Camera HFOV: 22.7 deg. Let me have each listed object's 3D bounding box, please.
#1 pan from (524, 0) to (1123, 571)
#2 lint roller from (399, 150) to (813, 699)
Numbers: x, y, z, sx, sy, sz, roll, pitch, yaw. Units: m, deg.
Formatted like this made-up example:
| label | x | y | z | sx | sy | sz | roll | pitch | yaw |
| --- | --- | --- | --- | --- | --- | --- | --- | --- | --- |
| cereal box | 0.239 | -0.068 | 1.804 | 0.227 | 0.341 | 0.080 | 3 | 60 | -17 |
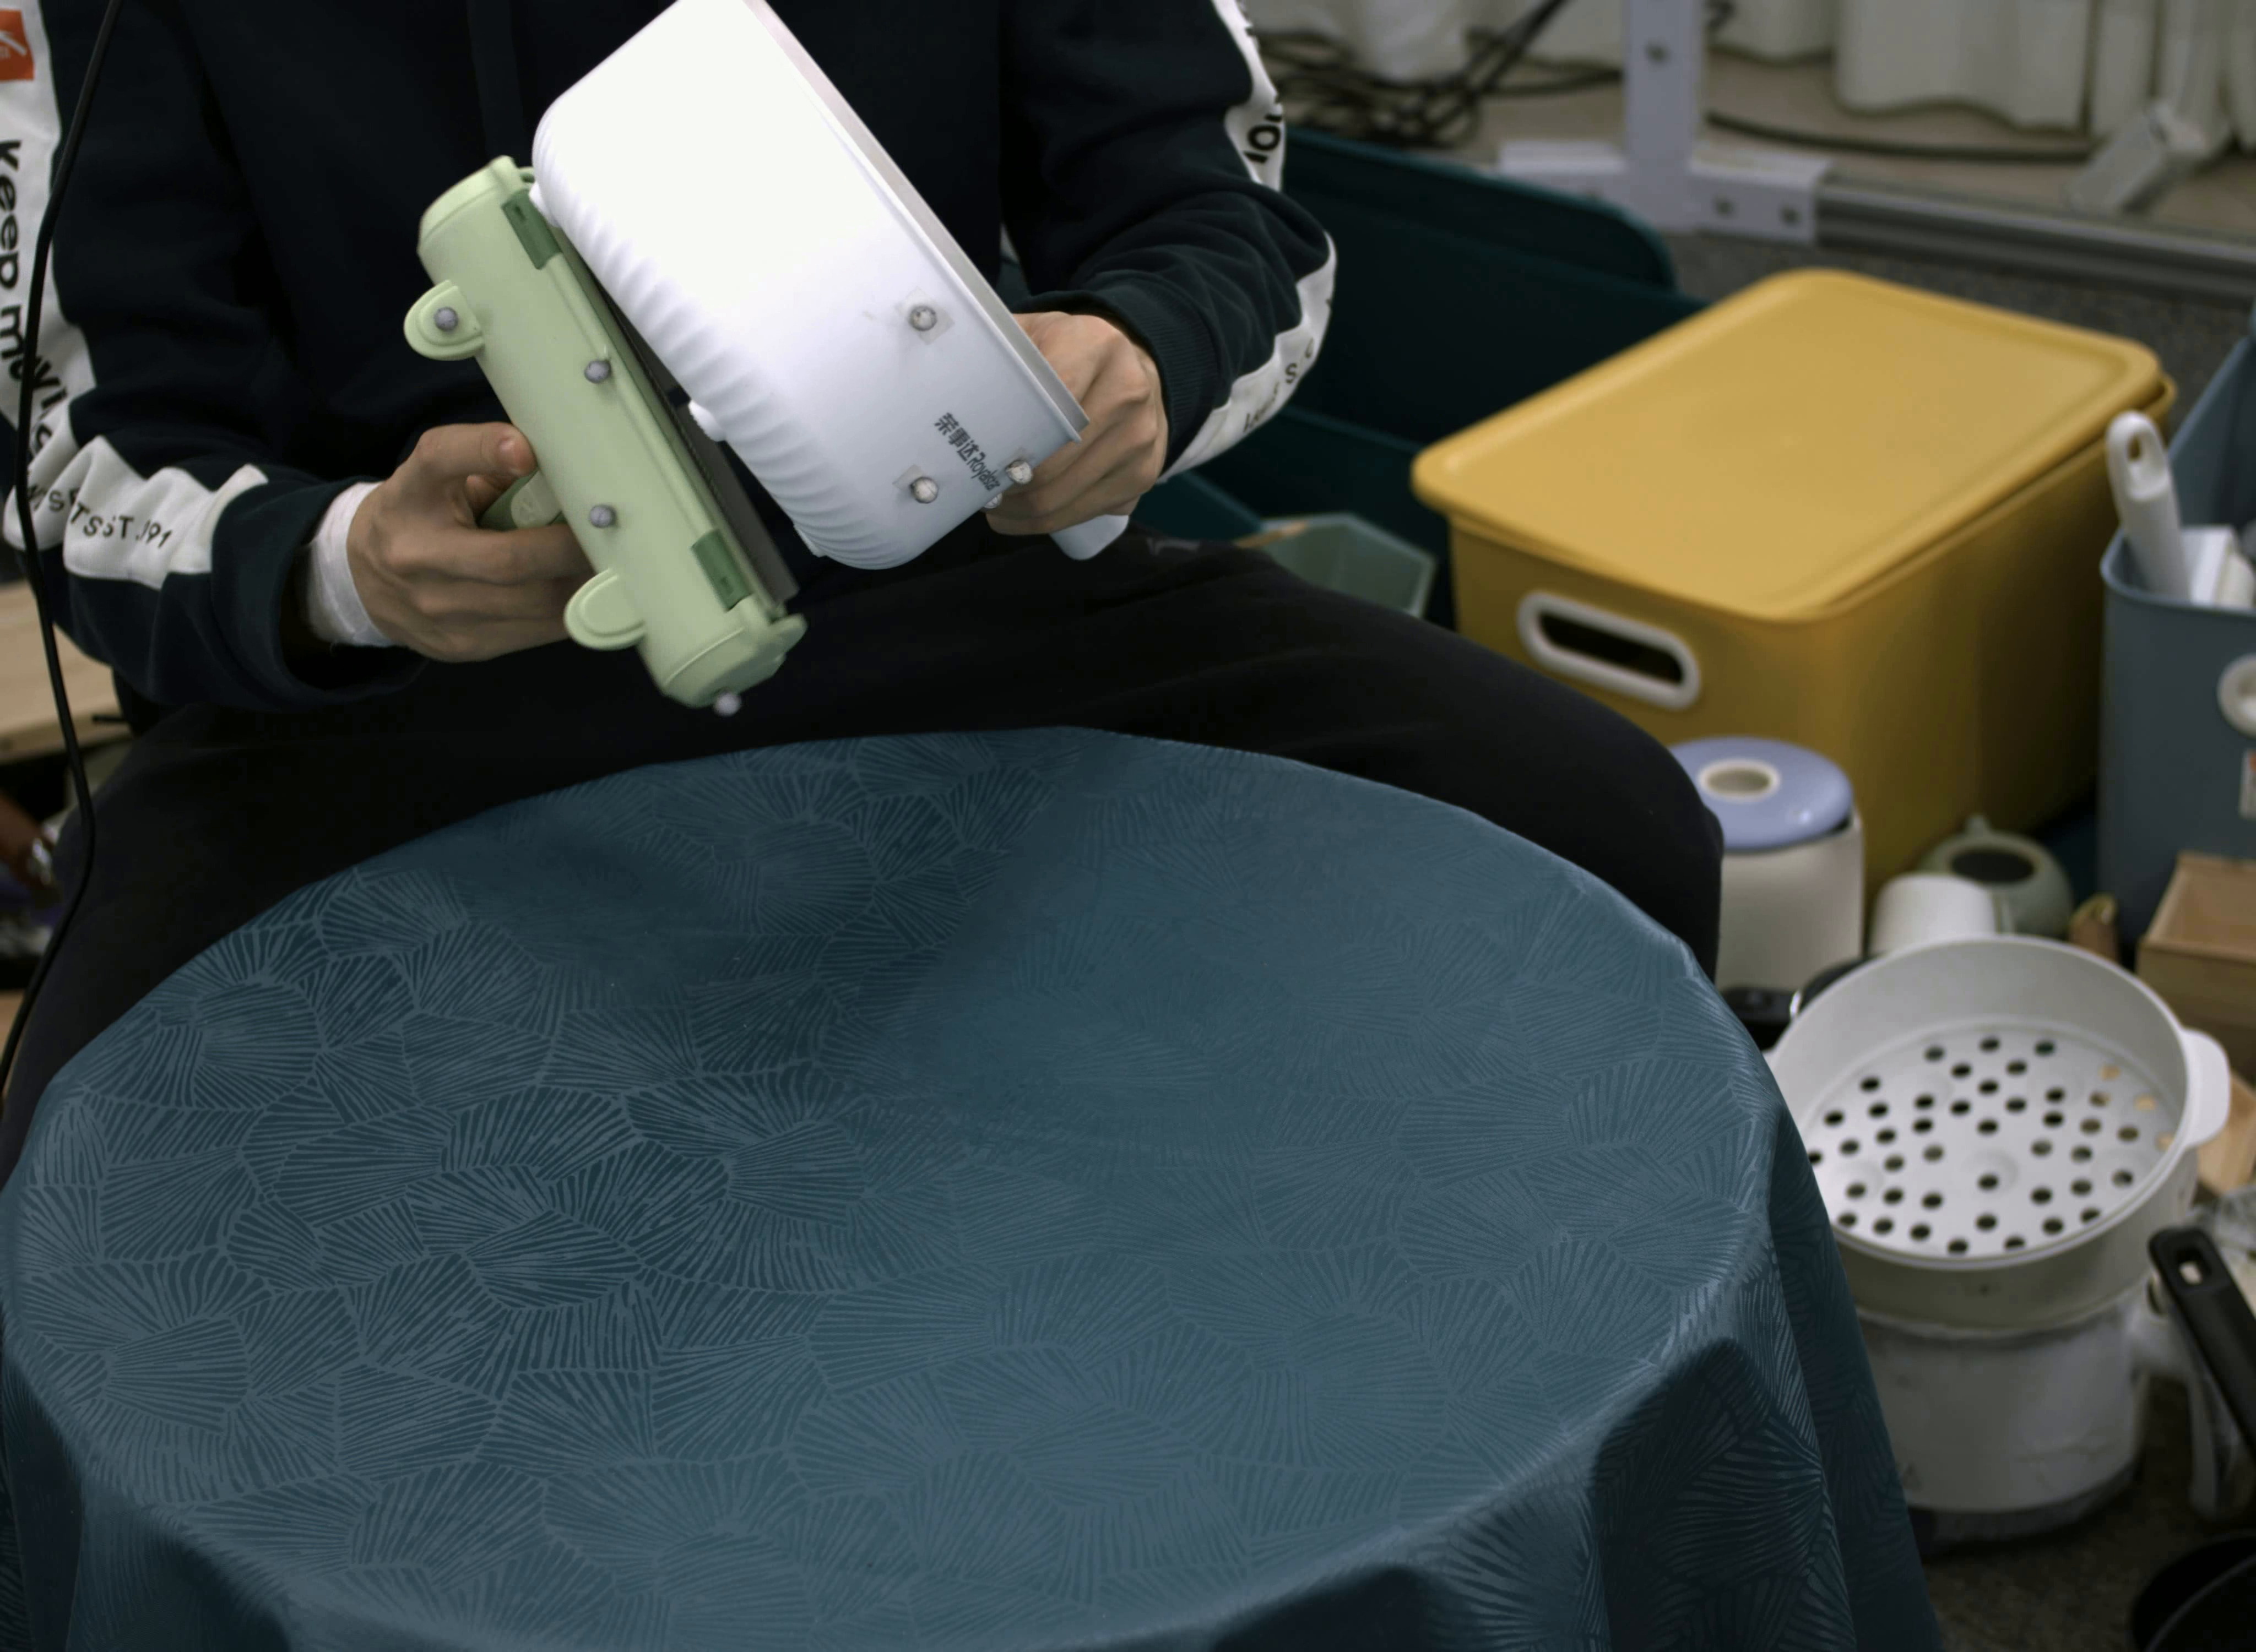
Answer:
| label | x | y | z | sx | sy | sz | roll | pitch | yaw |
| --- | --- | --- | --- | --- | --- | --- | --- | --- | --- |
| pan | -0.094 | -0.155 | 1.957 | 0.102 | 0.352 | 0.203 | -38 | 64 | 0 |
| lint roller | -0.210 | -0.112 | 1.965 | 0.083 | 0.199 | 0.180 | -25 | -10 | -41 |
